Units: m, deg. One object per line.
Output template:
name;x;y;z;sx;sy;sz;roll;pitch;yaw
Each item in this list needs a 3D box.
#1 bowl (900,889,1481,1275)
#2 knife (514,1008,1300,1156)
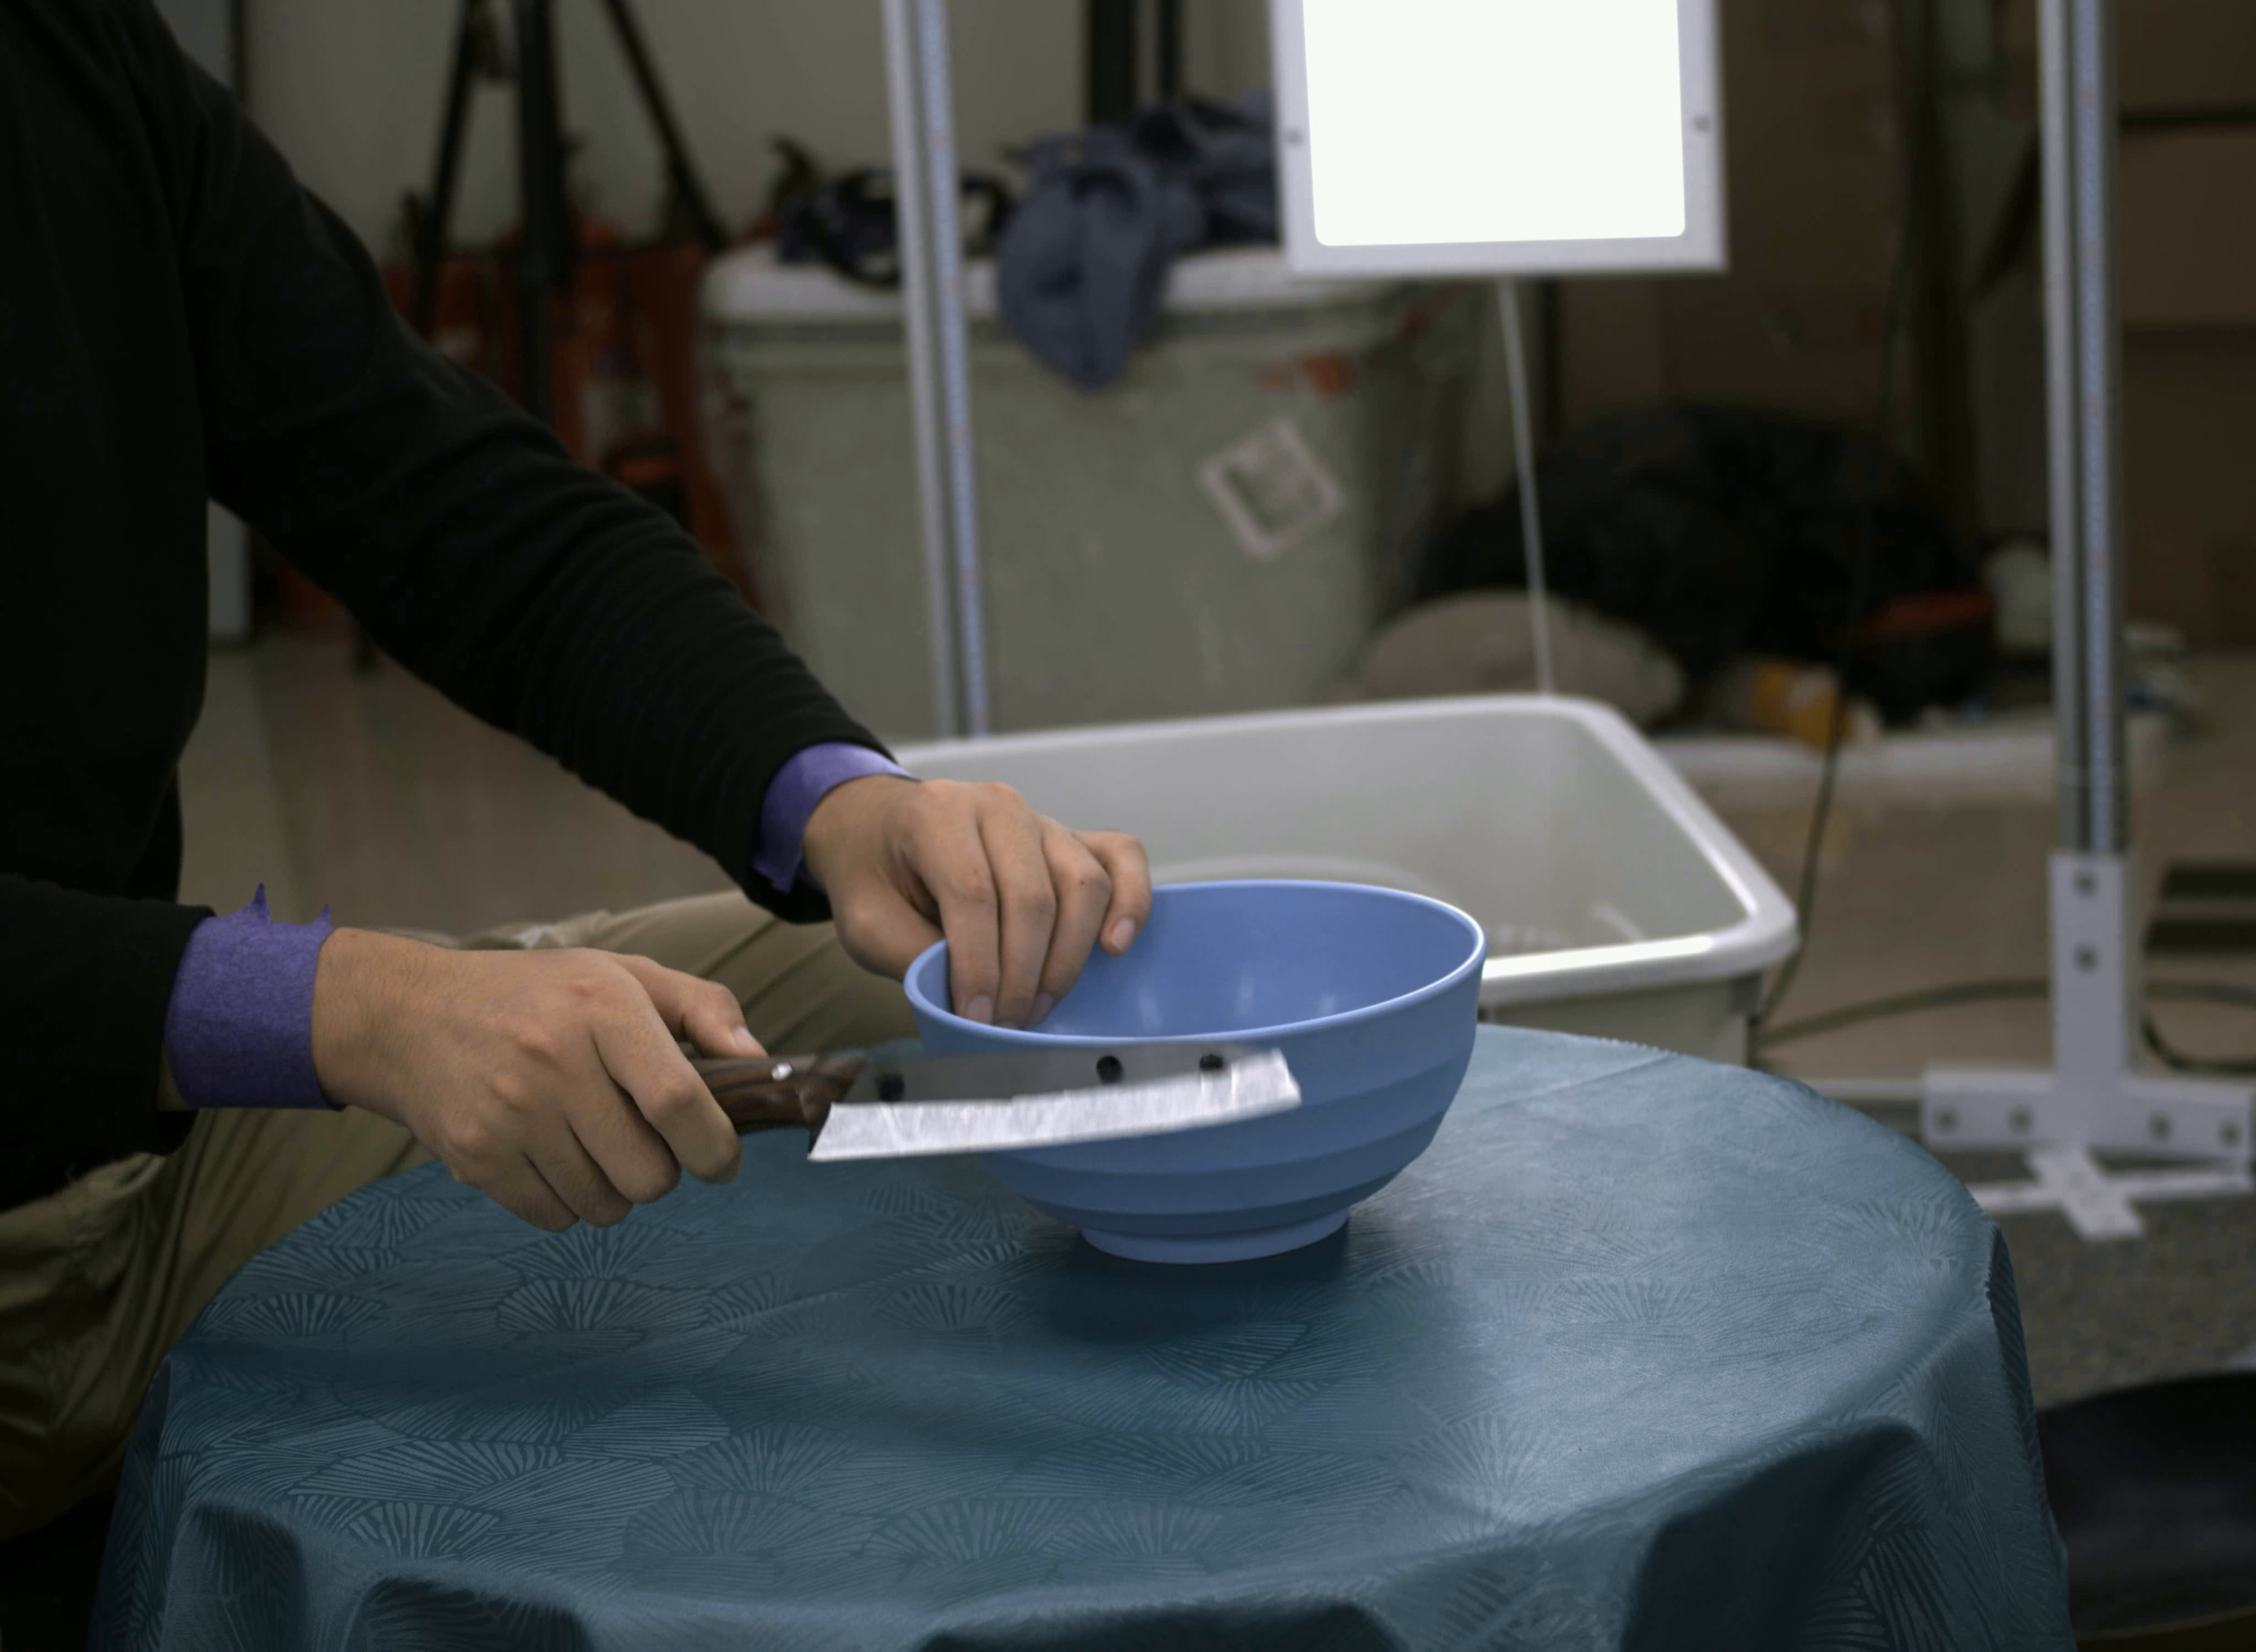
bowl;0.026;0.091;1.848;0.196;0.096;0.196;-7;13;0
knife;-0.073;0.082;1.720;0.295;0.020;0.049;-5;43;31
